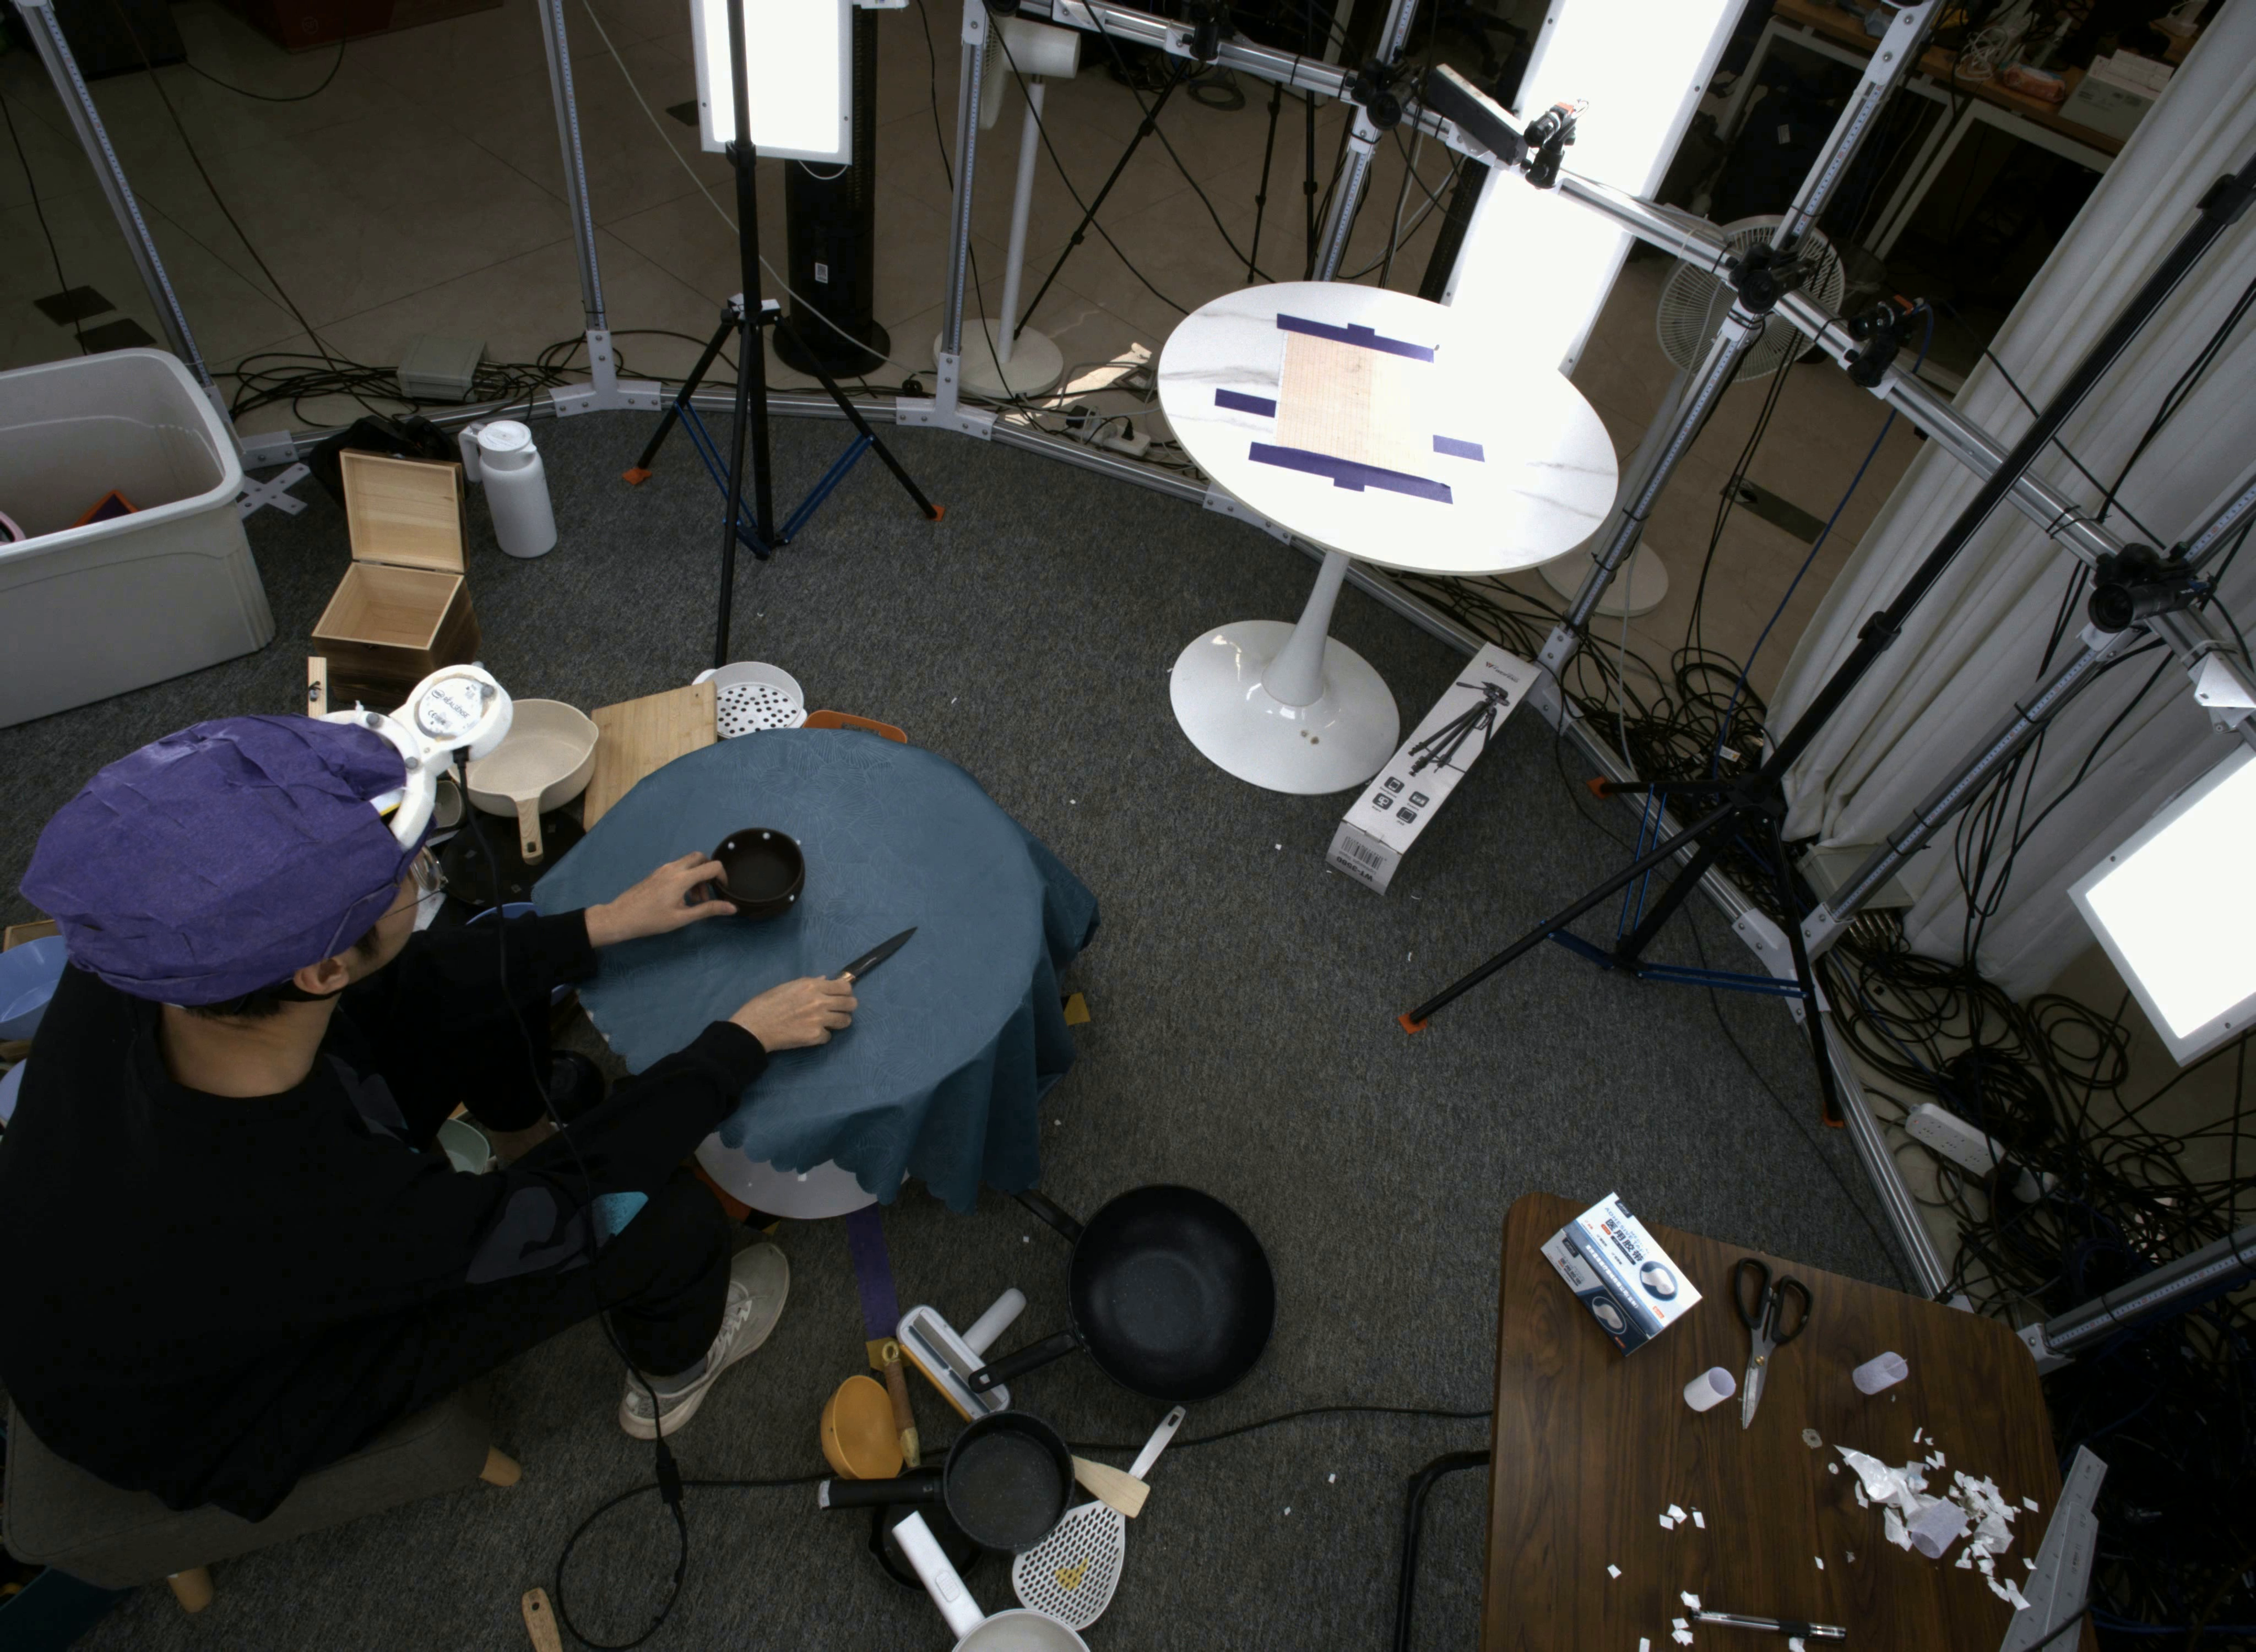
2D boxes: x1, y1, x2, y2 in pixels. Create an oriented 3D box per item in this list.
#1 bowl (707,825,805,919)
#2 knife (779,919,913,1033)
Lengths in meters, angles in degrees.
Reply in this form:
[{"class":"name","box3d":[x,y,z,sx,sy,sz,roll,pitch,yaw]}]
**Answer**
[{"class":"bowl","box3d":[-0.460,0.063,1.608,0.117,0.071,0.116,7,52,-7]},{"class":"knife","box3d":[-0.341,0.179,1.594,0.025,0.018,0.226,33,50,22]}]
